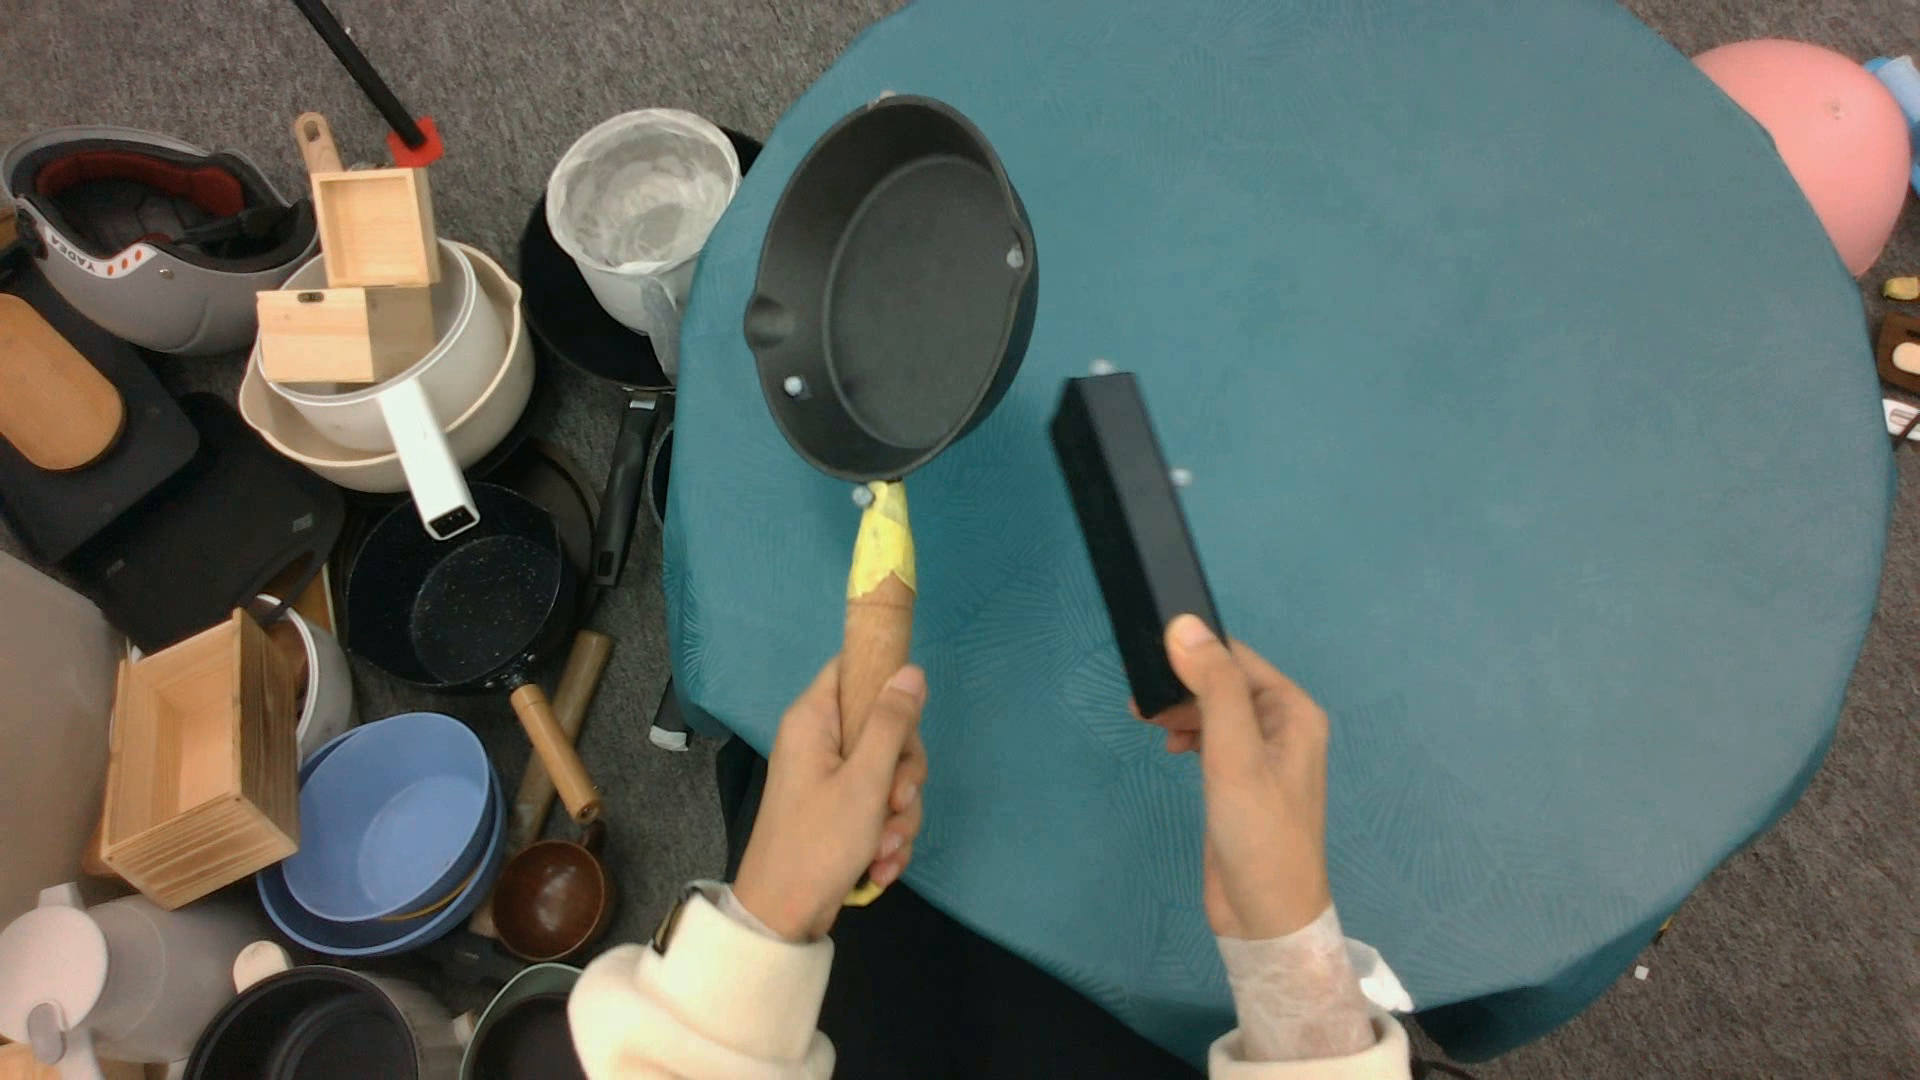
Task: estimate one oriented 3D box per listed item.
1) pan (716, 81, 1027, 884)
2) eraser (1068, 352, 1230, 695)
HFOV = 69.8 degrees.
[{"bbox_3d":[-0.039,-0.025,0.566,0.168,0.050,0.324,-1,86,38],"label":"pan"},{"bbox_3d":[0.071,-0.006,0.525,0.030,0.053,0.126,-9,76,-8],"label":"eraser"}]
